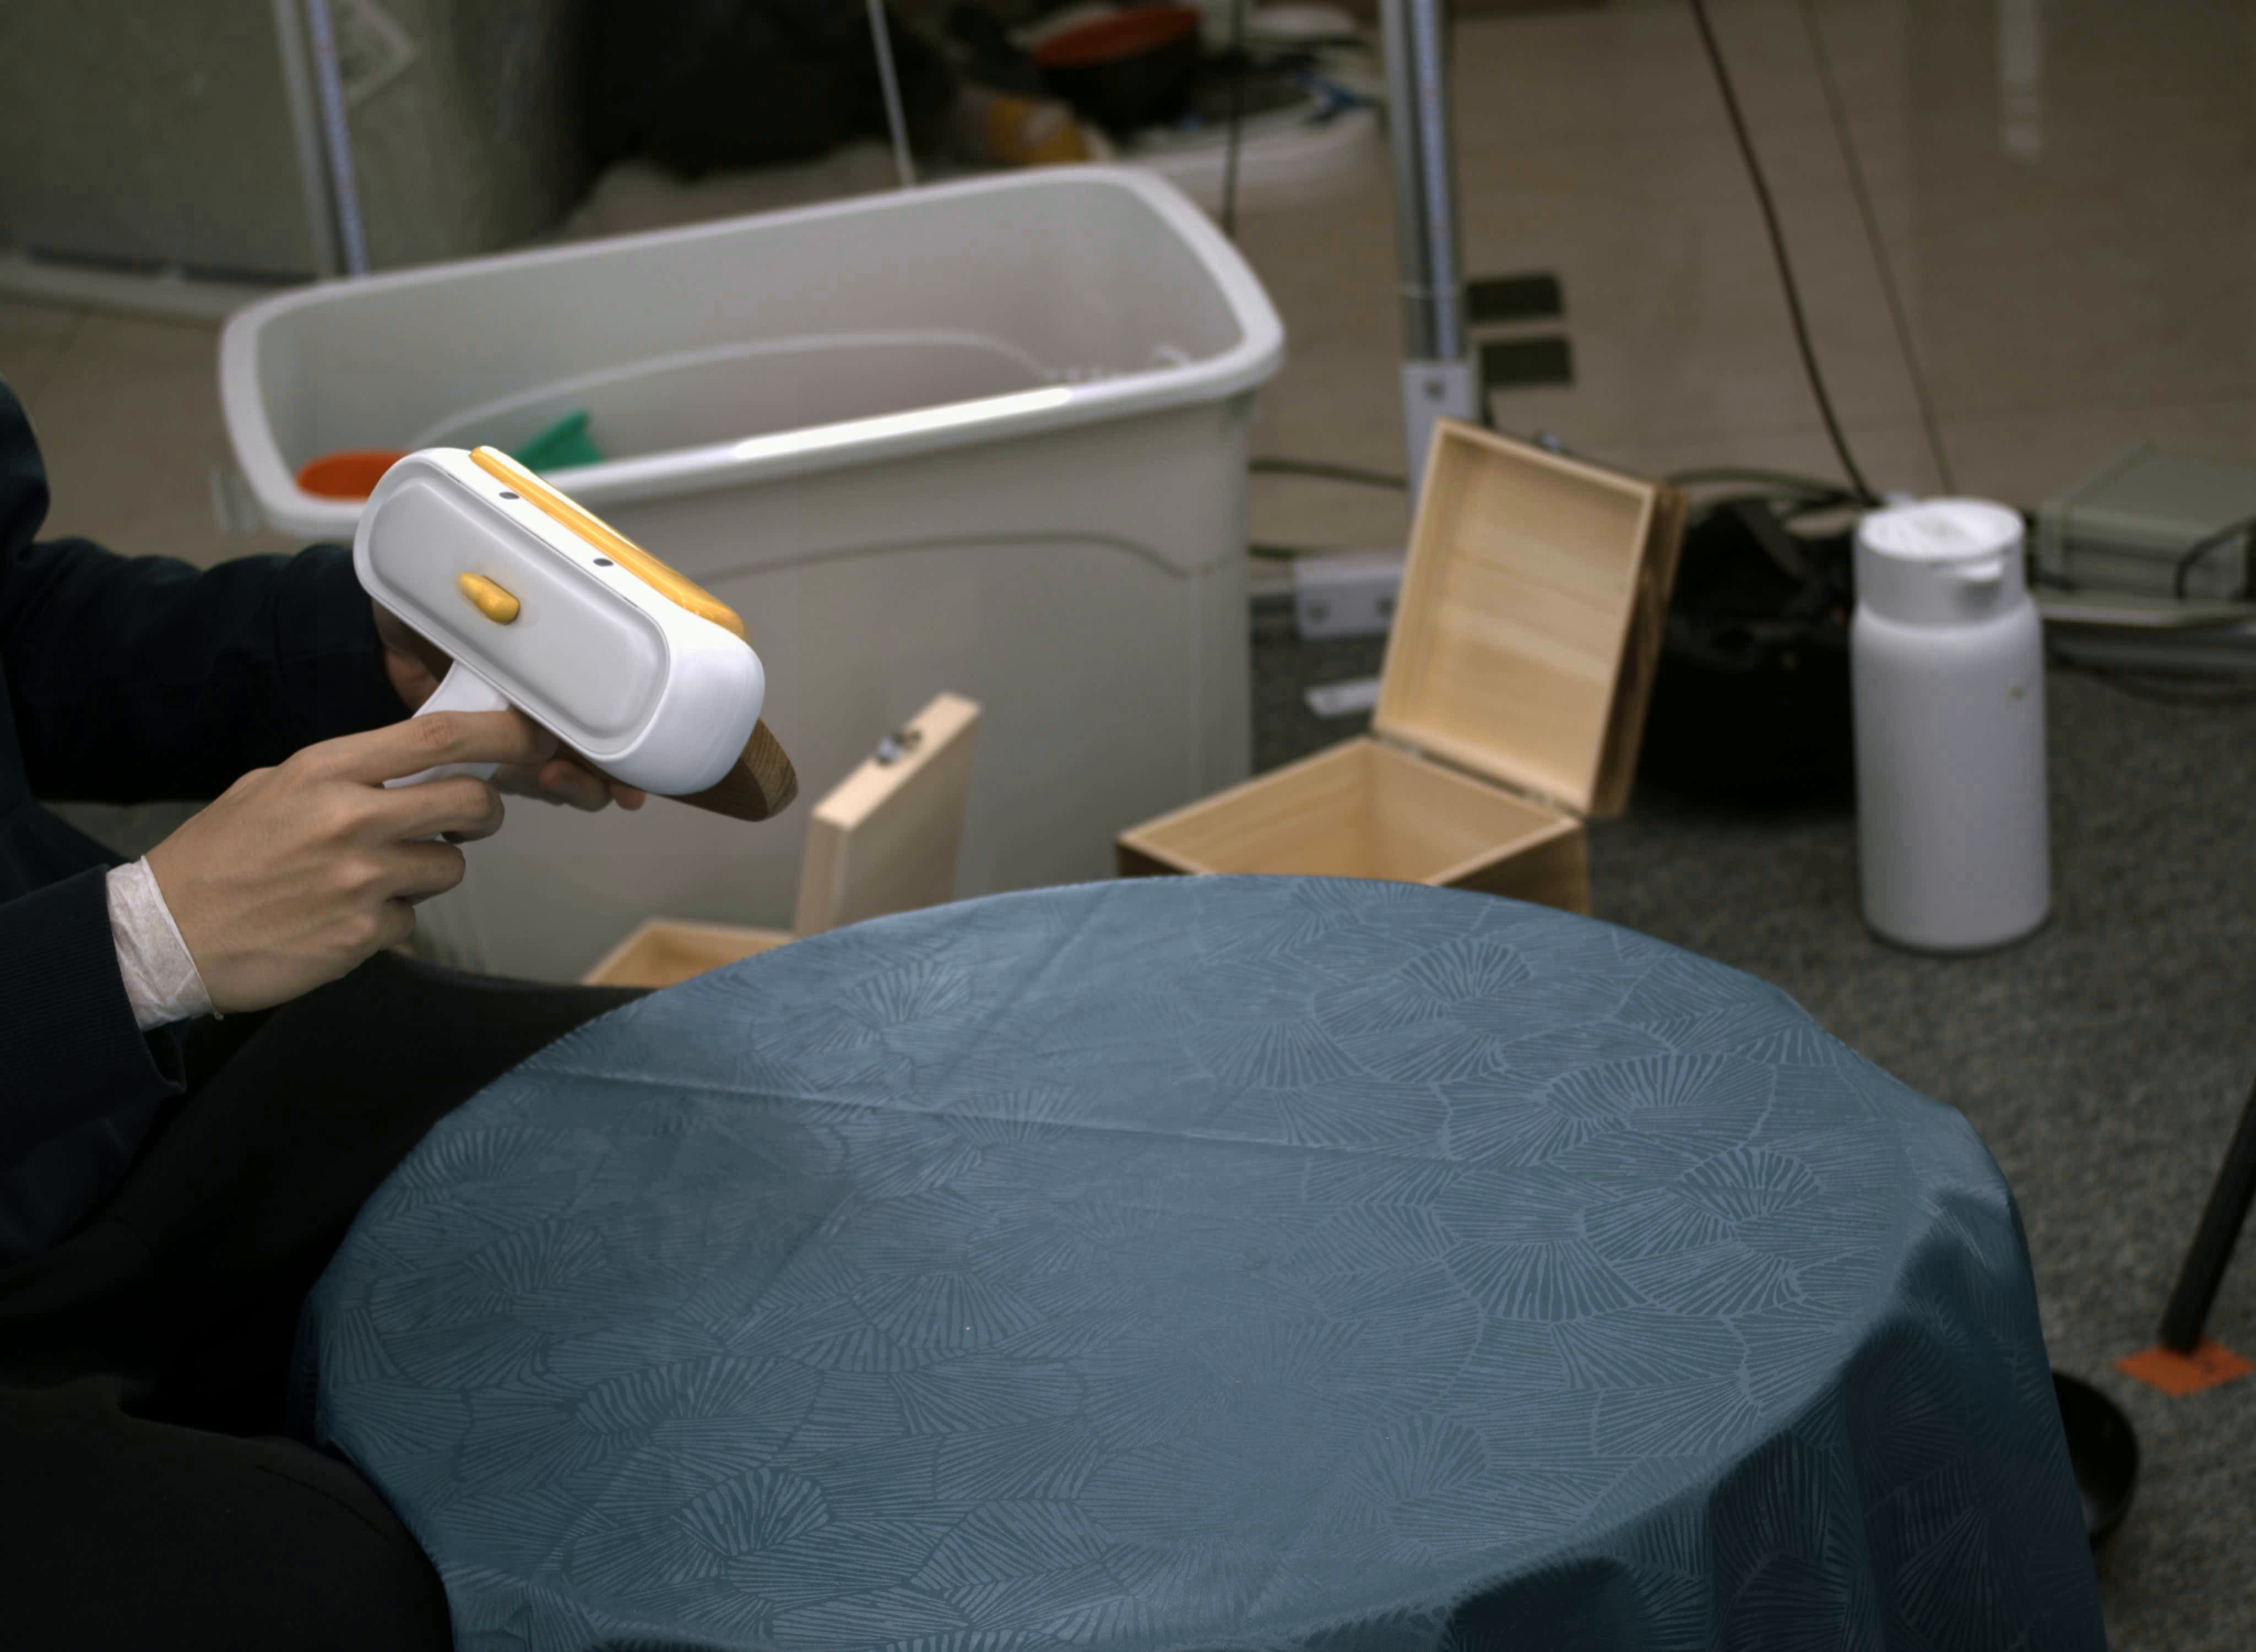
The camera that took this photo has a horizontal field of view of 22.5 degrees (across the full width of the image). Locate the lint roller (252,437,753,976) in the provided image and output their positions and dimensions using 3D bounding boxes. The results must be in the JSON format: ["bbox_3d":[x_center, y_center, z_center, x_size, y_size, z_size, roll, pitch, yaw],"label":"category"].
[{"bbox_3d":[-0.243,-0.030,2.018,0.191,0.193,0.075,31,3,32],"label":"lint roller"}]

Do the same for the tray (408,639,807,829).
[{"bbox_3d":[-0.201,-0.048,2.137,0.020,0.103,0.229,-50,35,-18],"label":"tray"}]
